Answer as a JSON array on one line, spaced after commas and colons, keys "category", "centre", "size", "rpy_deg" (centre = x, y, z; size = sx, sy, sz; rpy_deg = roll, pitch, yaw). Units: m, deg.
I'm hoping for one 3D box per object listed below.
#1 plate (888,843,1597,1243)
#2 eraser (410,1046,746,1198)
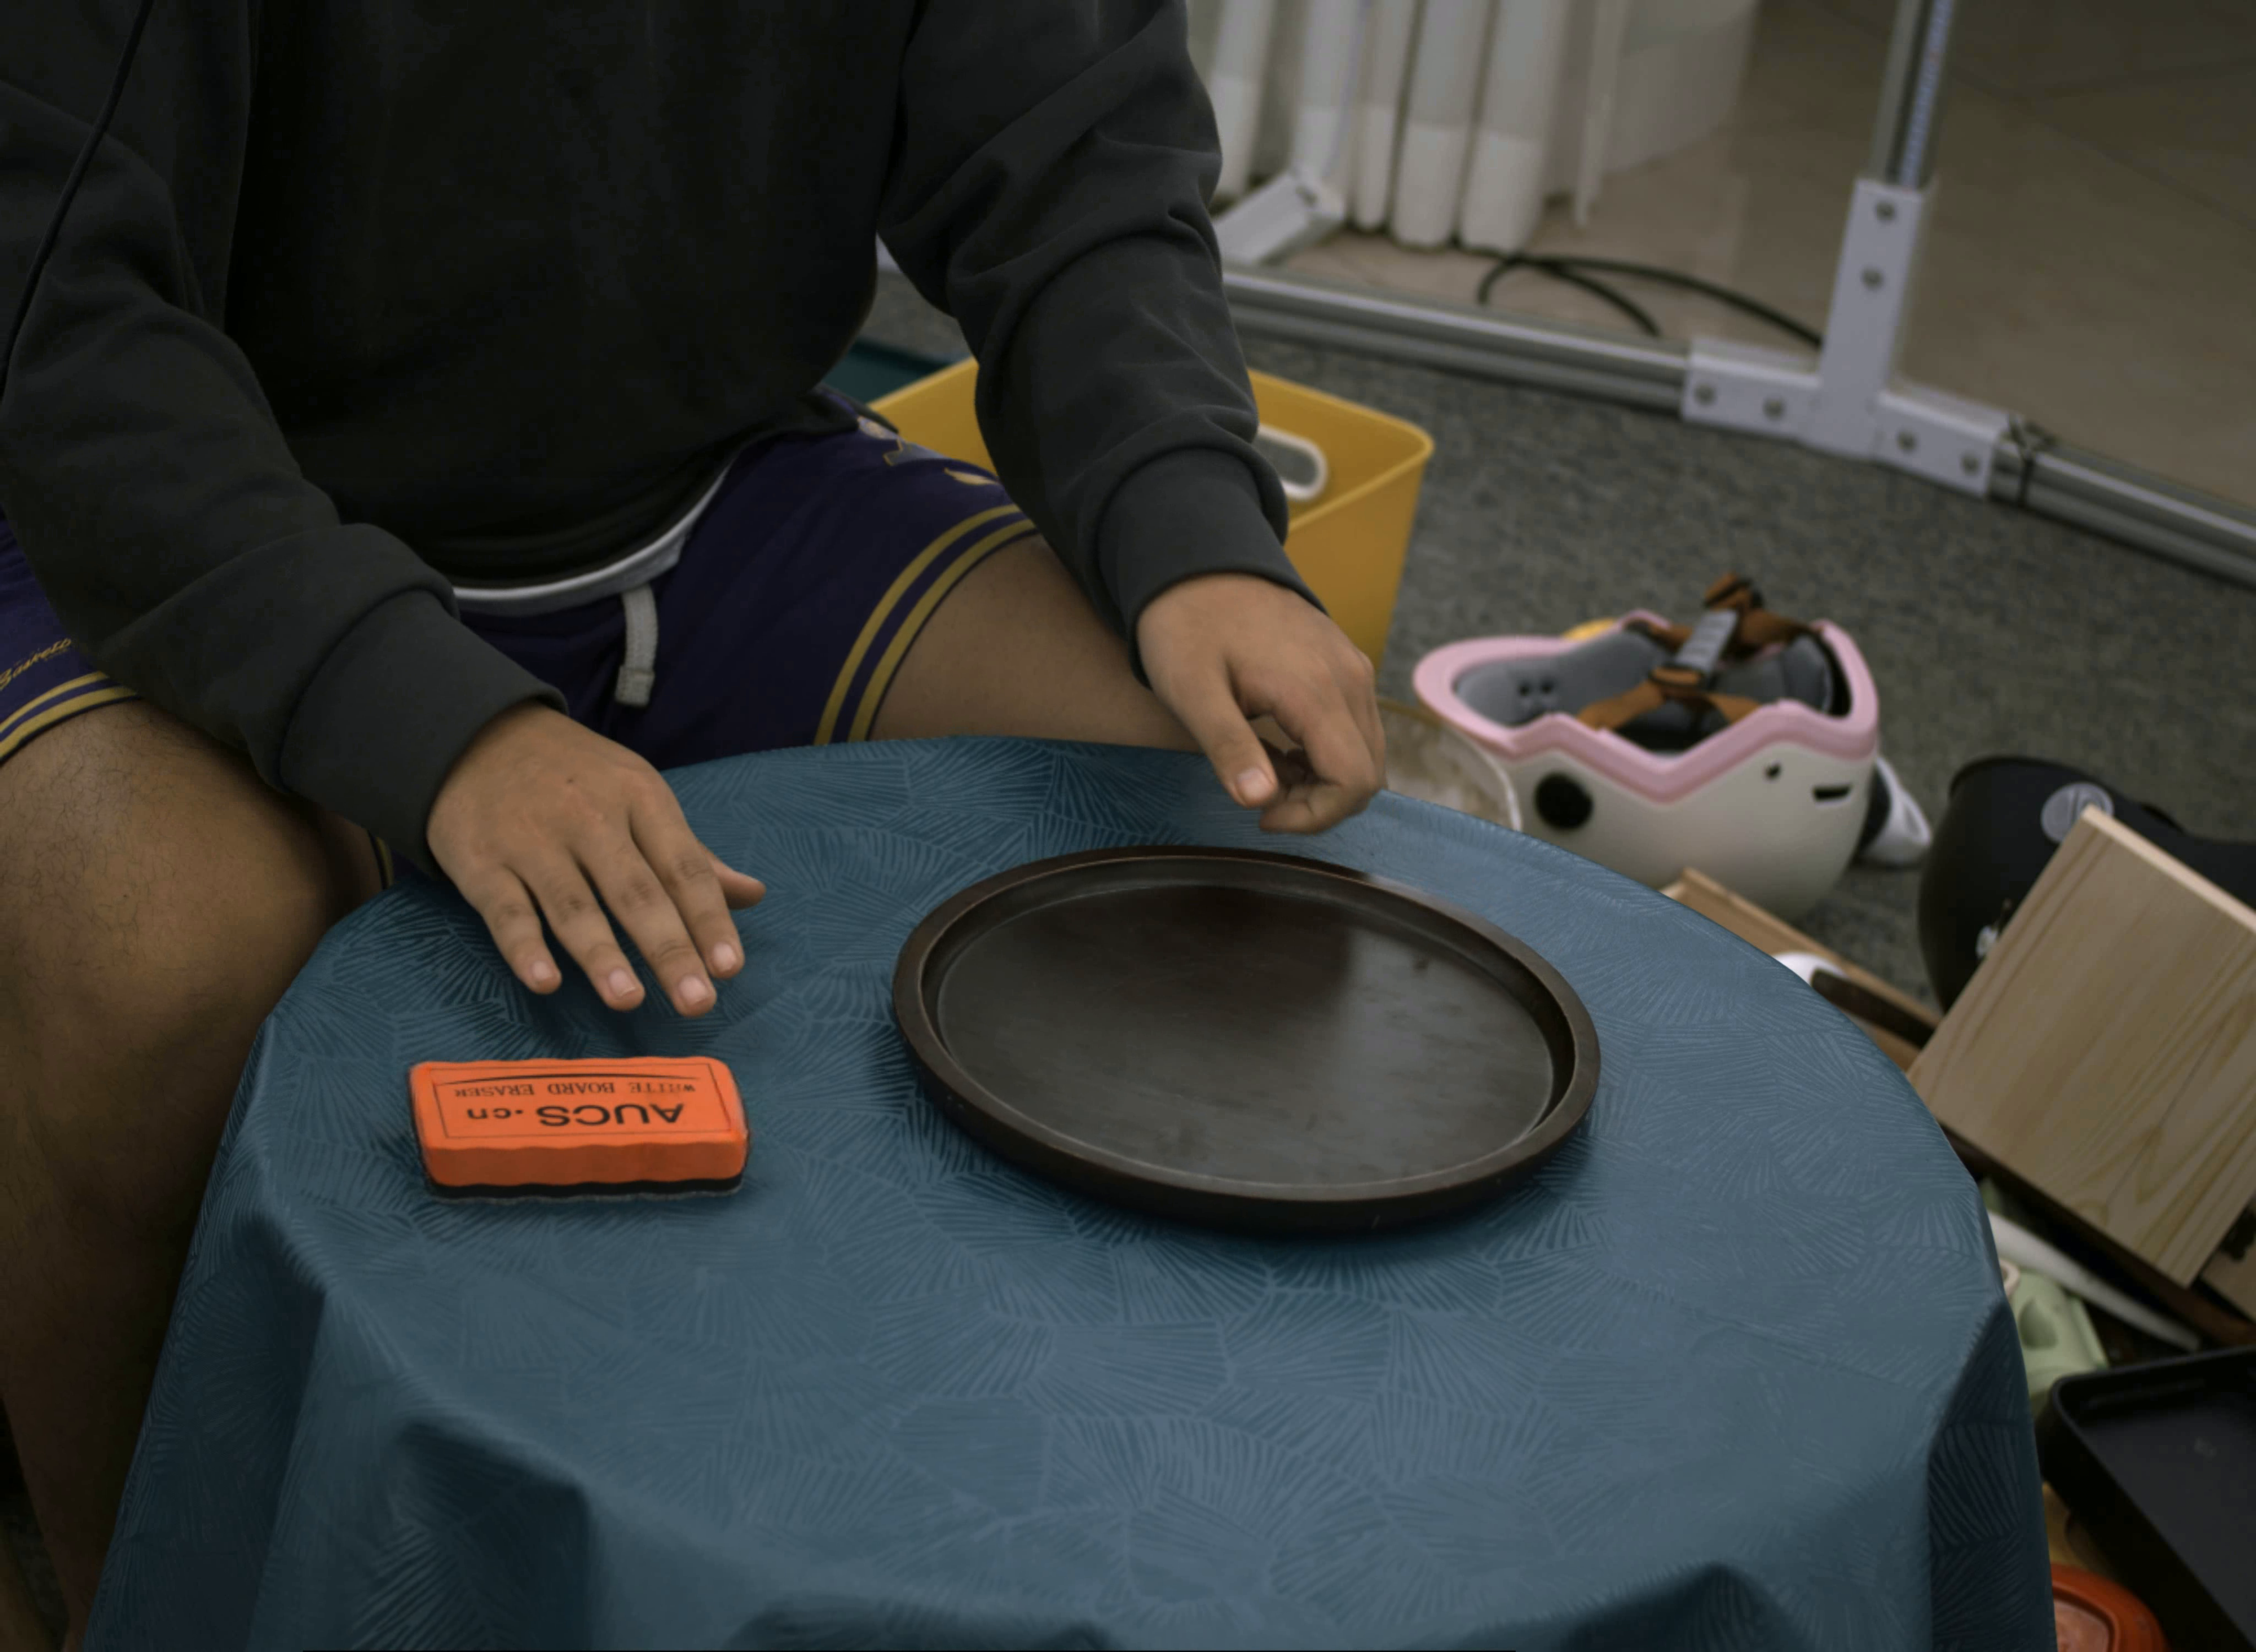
[{"category": "plate", "centre": [0.040, 0.075, 1.882], "size": [0.254, 0.029, 0.256], "rpy_deg": [4, 28, -2]}, {"category": "eraser", "centre": [-0.184, 0.098, 1.776], "size": [0.107, 0.023, 0.059], "rpy_deg": [-2, 28, -14]}]
